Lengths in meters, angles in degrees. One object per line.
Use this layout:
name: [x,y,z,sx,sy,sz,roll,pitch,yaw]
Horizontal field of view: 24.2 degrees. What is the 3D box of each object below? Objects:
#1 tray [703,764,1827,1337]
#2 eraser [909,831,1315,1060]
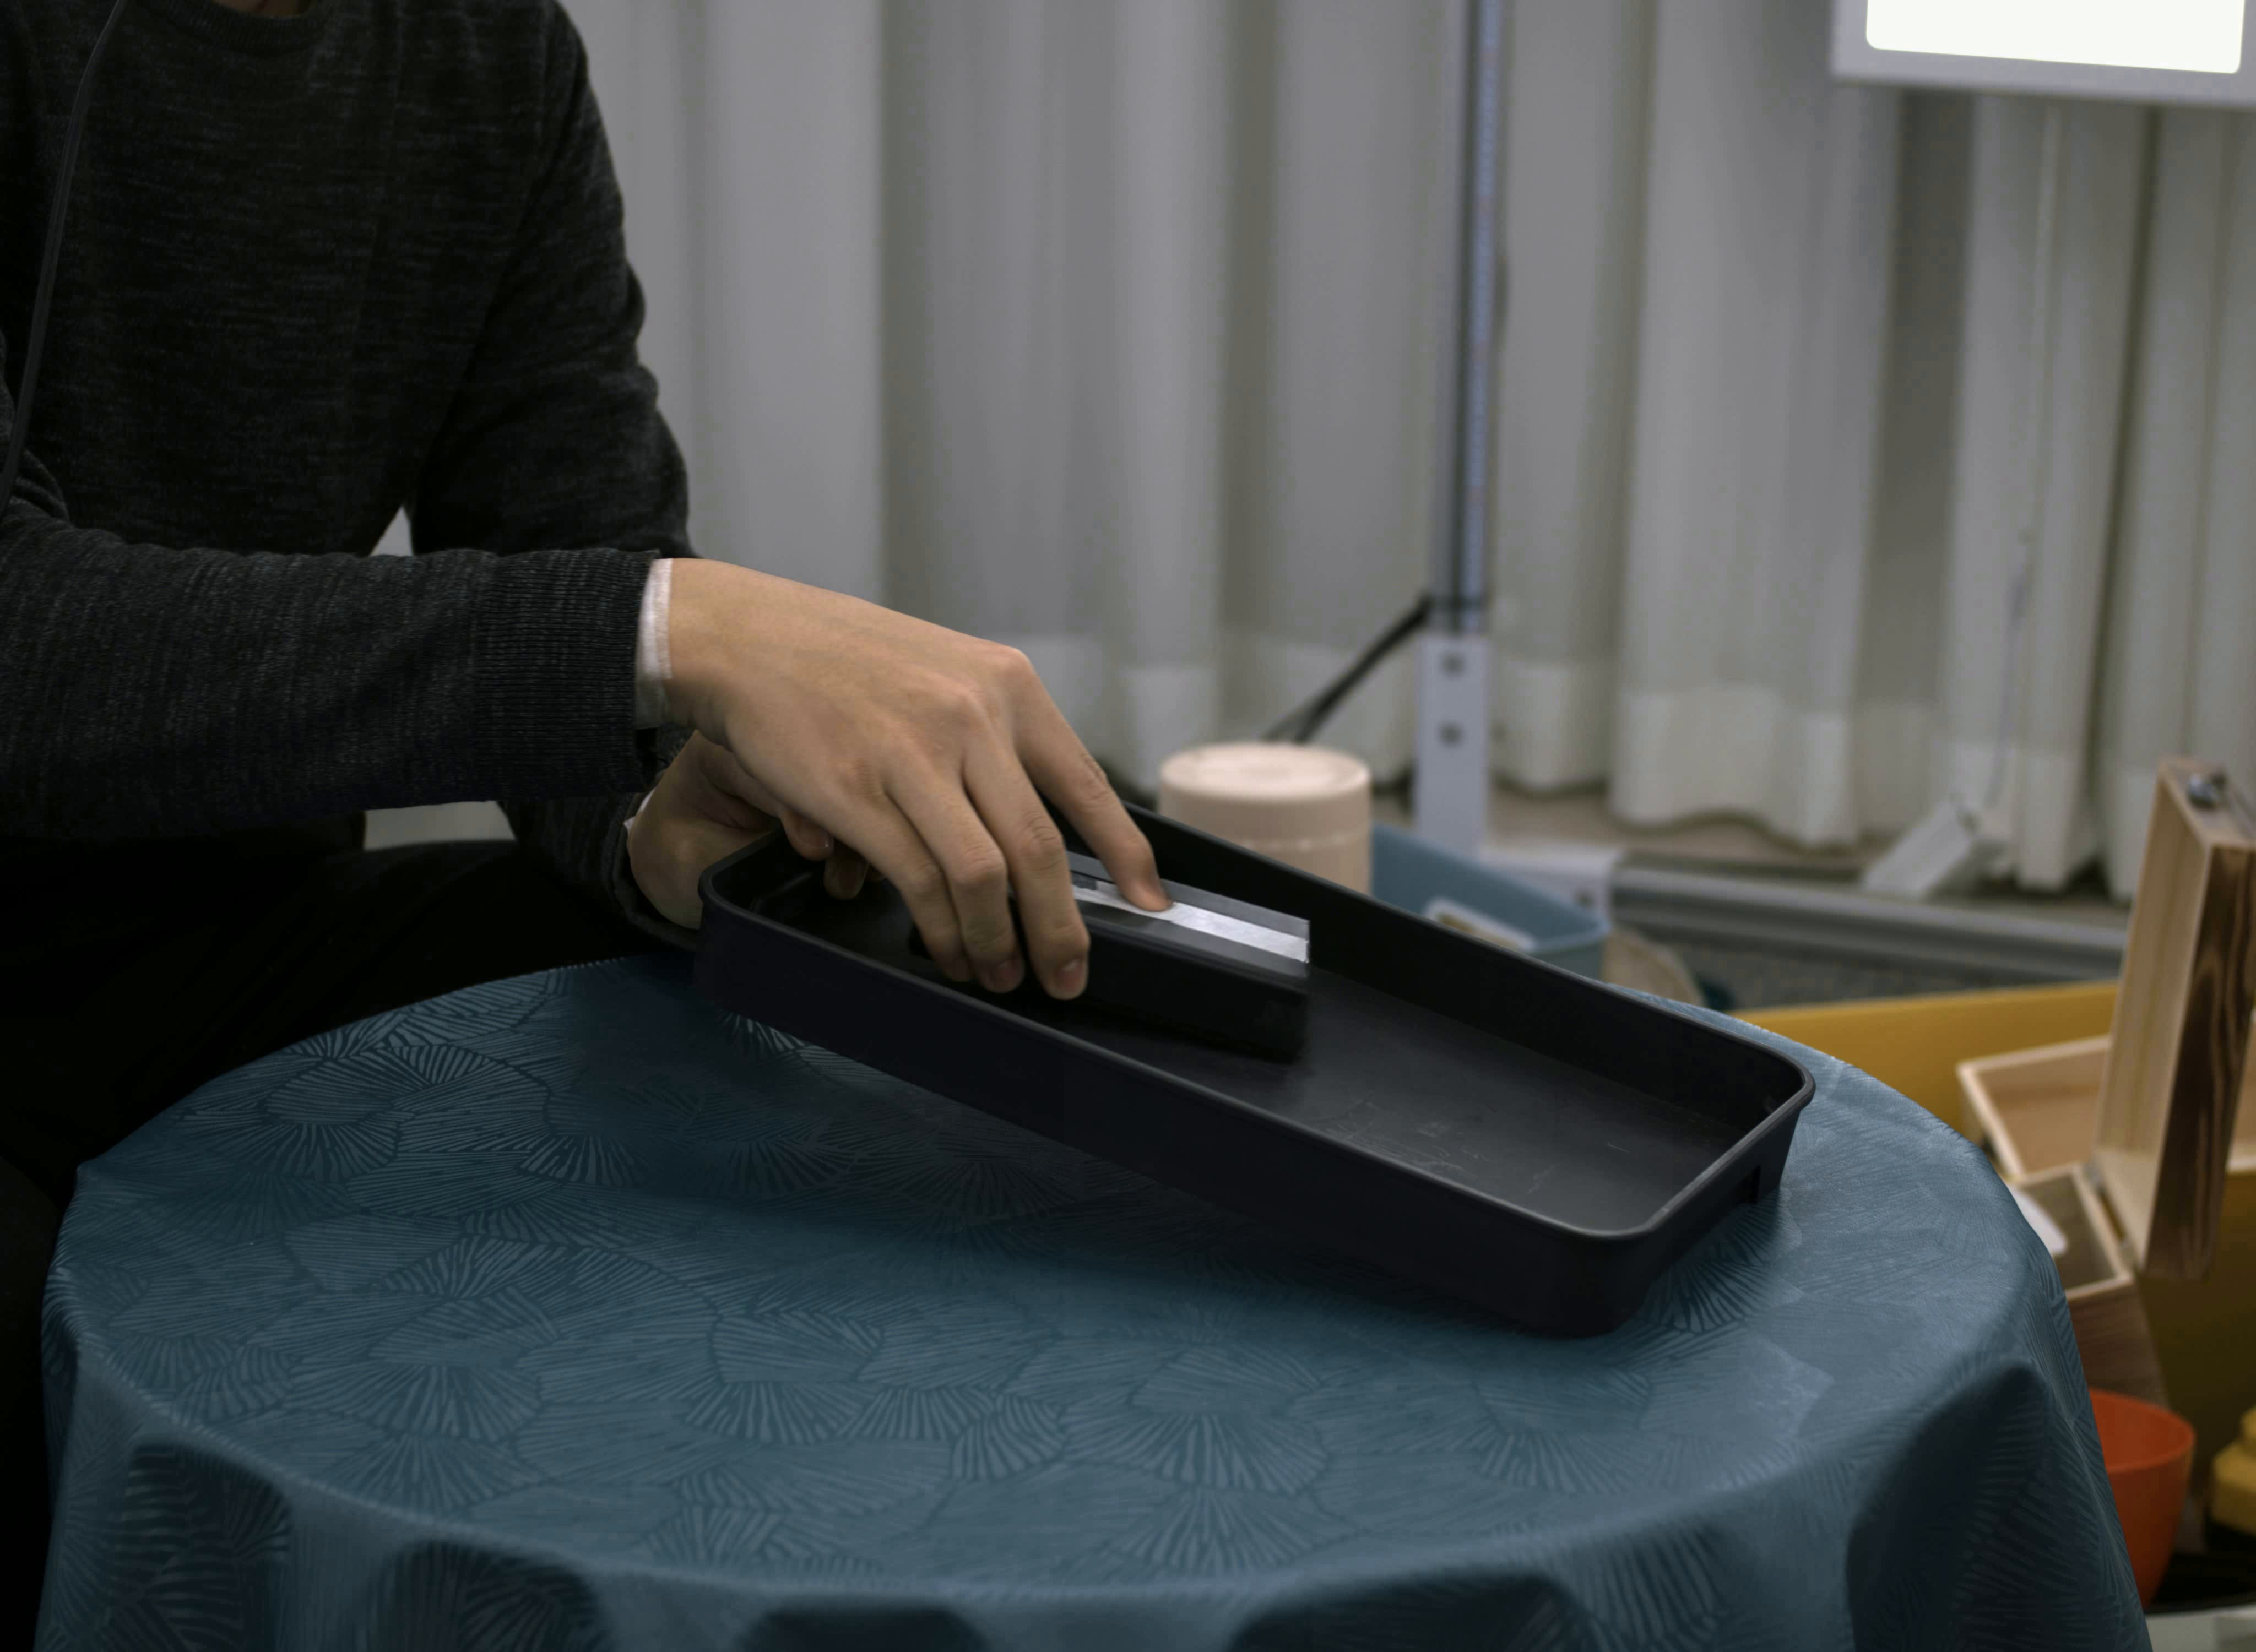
tray: [0.042,0.064,1.614,0.315,0.037,0.184,19,22,19]
eraser: [-0.006,0.037,1.634,0.125,0.030,0.053,15,21,-7]
